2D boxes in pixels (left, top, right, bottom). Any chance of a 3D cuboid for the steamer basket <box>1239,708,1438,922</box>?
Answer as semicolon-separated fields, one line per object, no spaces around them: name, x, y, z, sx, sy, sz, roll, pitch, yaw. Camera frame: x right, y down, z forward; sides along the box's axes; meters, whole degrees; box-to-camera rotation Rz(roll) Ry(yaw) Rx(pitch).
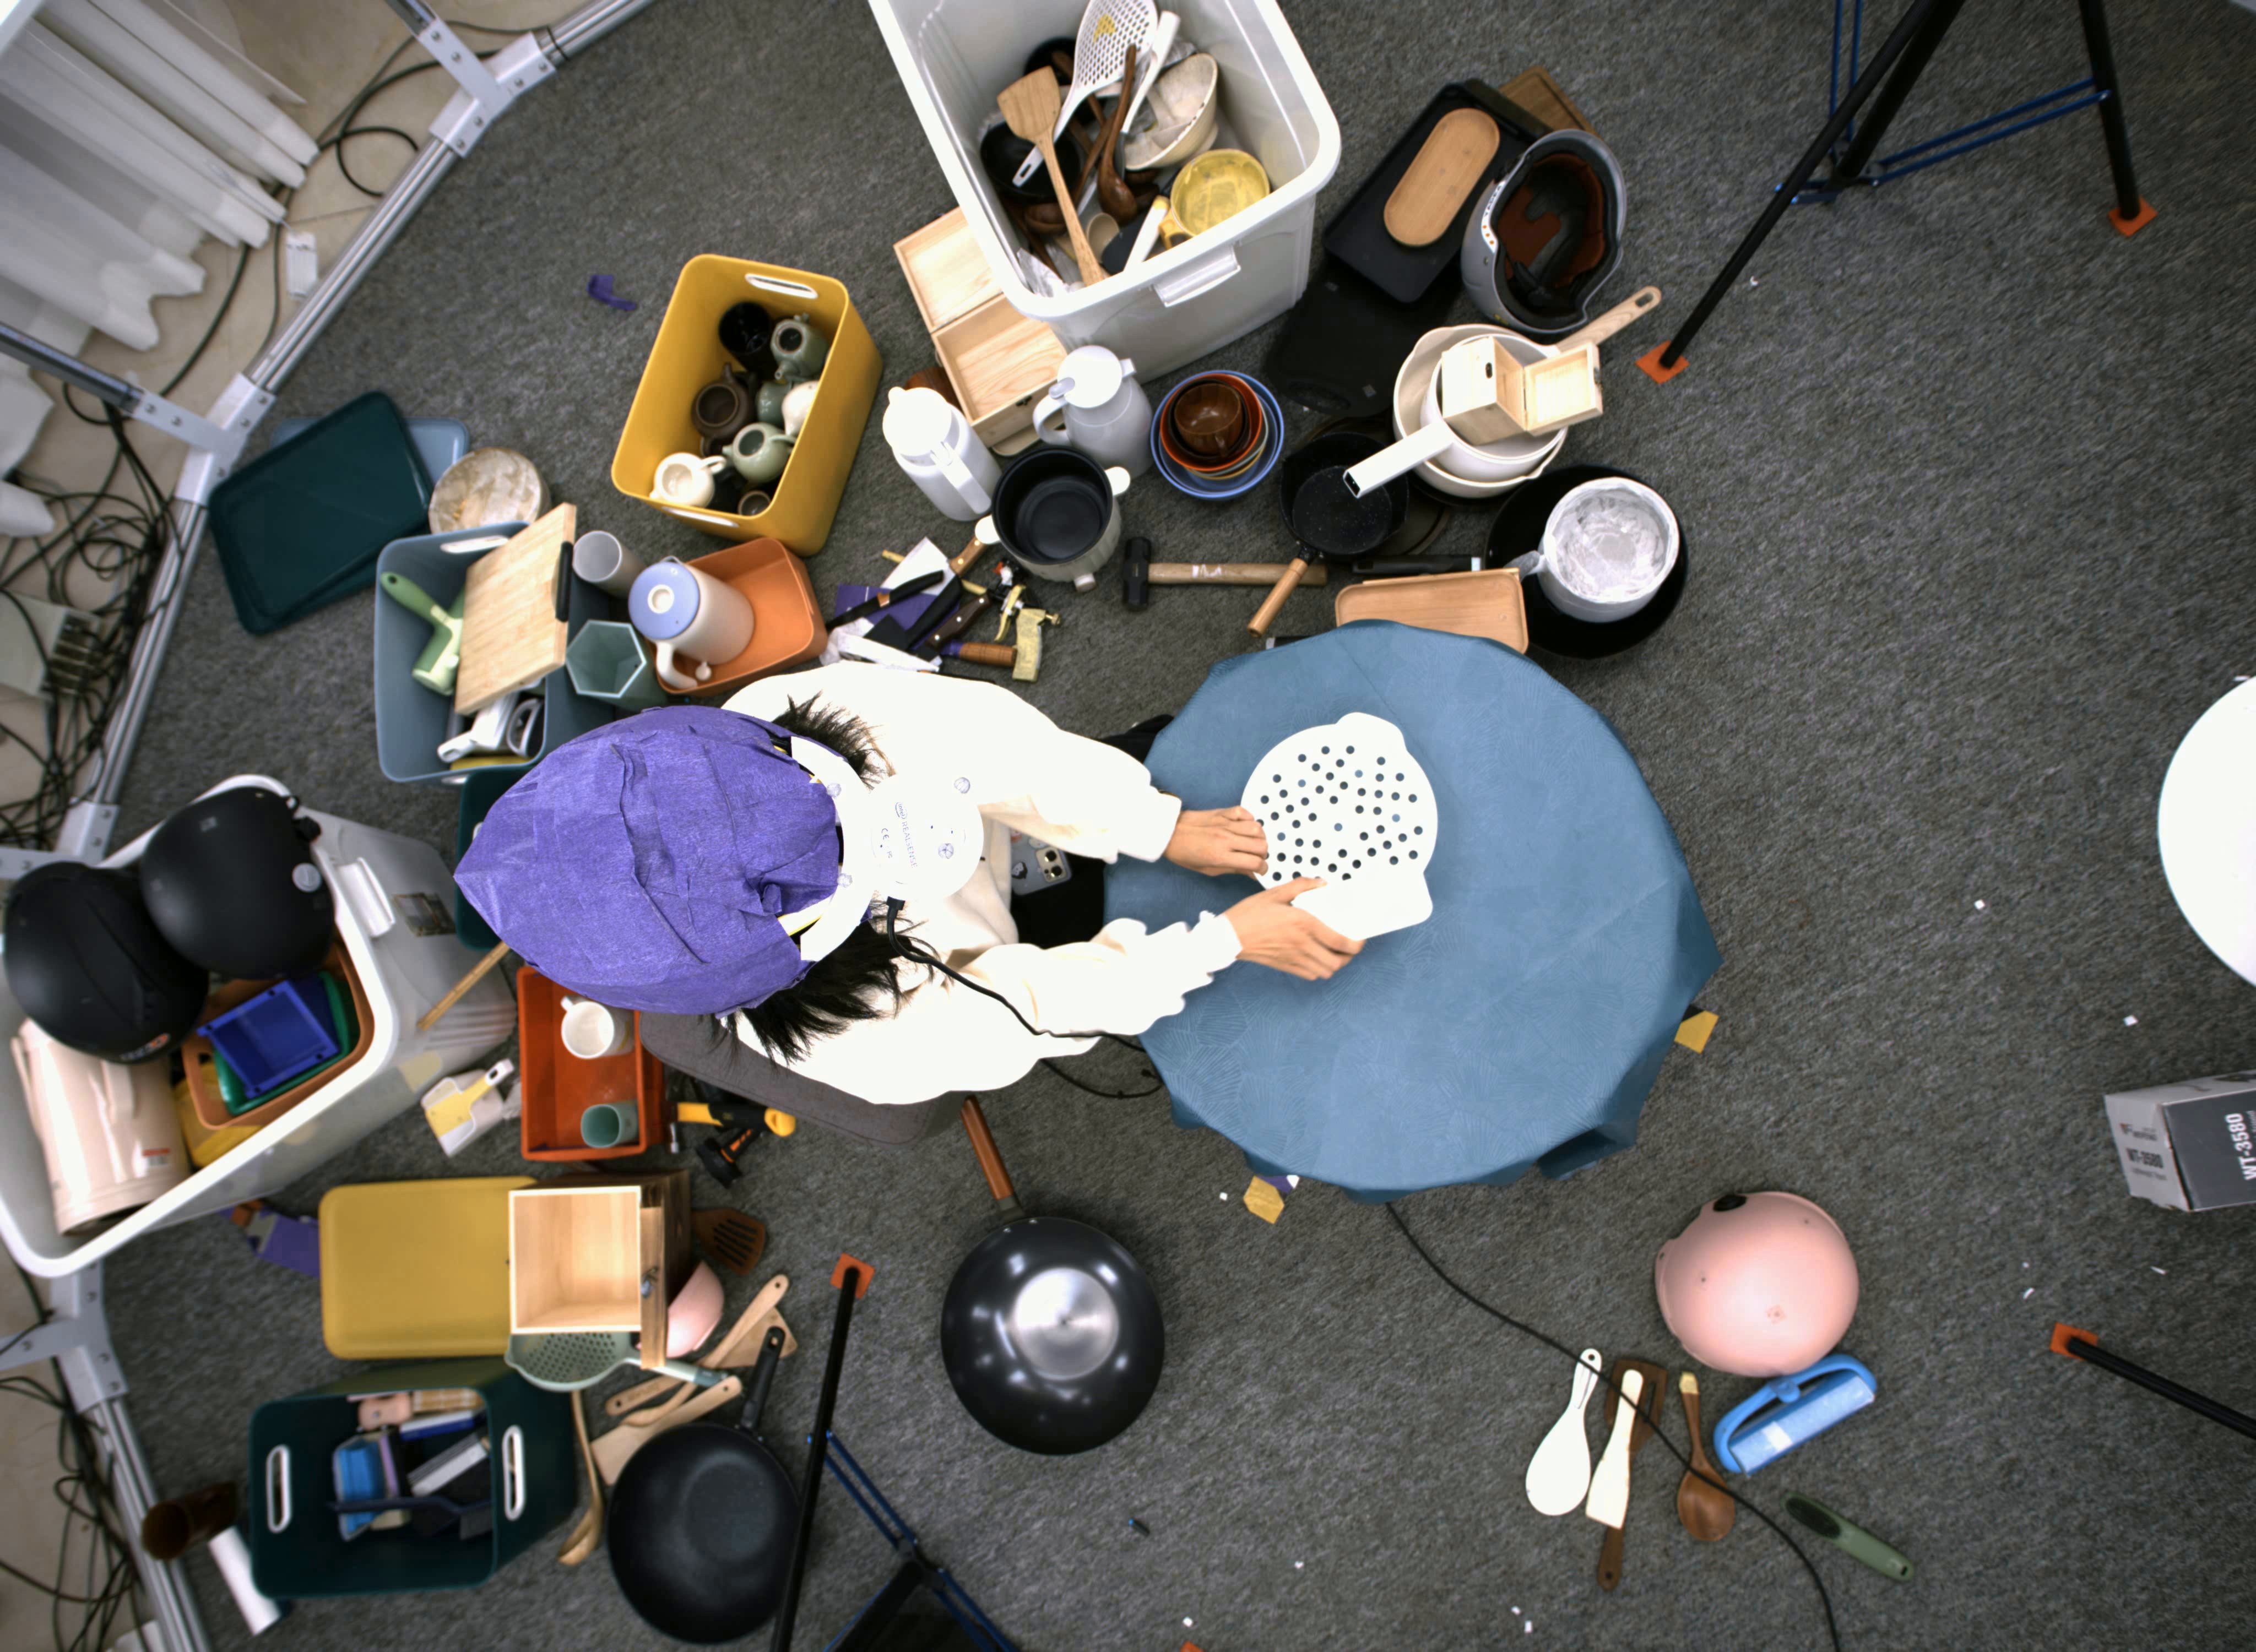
steamer basket;0.219;-0.008;1.440;0.202;0.069;0.230;21;89;11

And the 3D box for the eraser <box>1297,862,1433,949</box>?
eraser;0.236;0.077;1.382;0.132;0.034;0.063;-16;91;10
